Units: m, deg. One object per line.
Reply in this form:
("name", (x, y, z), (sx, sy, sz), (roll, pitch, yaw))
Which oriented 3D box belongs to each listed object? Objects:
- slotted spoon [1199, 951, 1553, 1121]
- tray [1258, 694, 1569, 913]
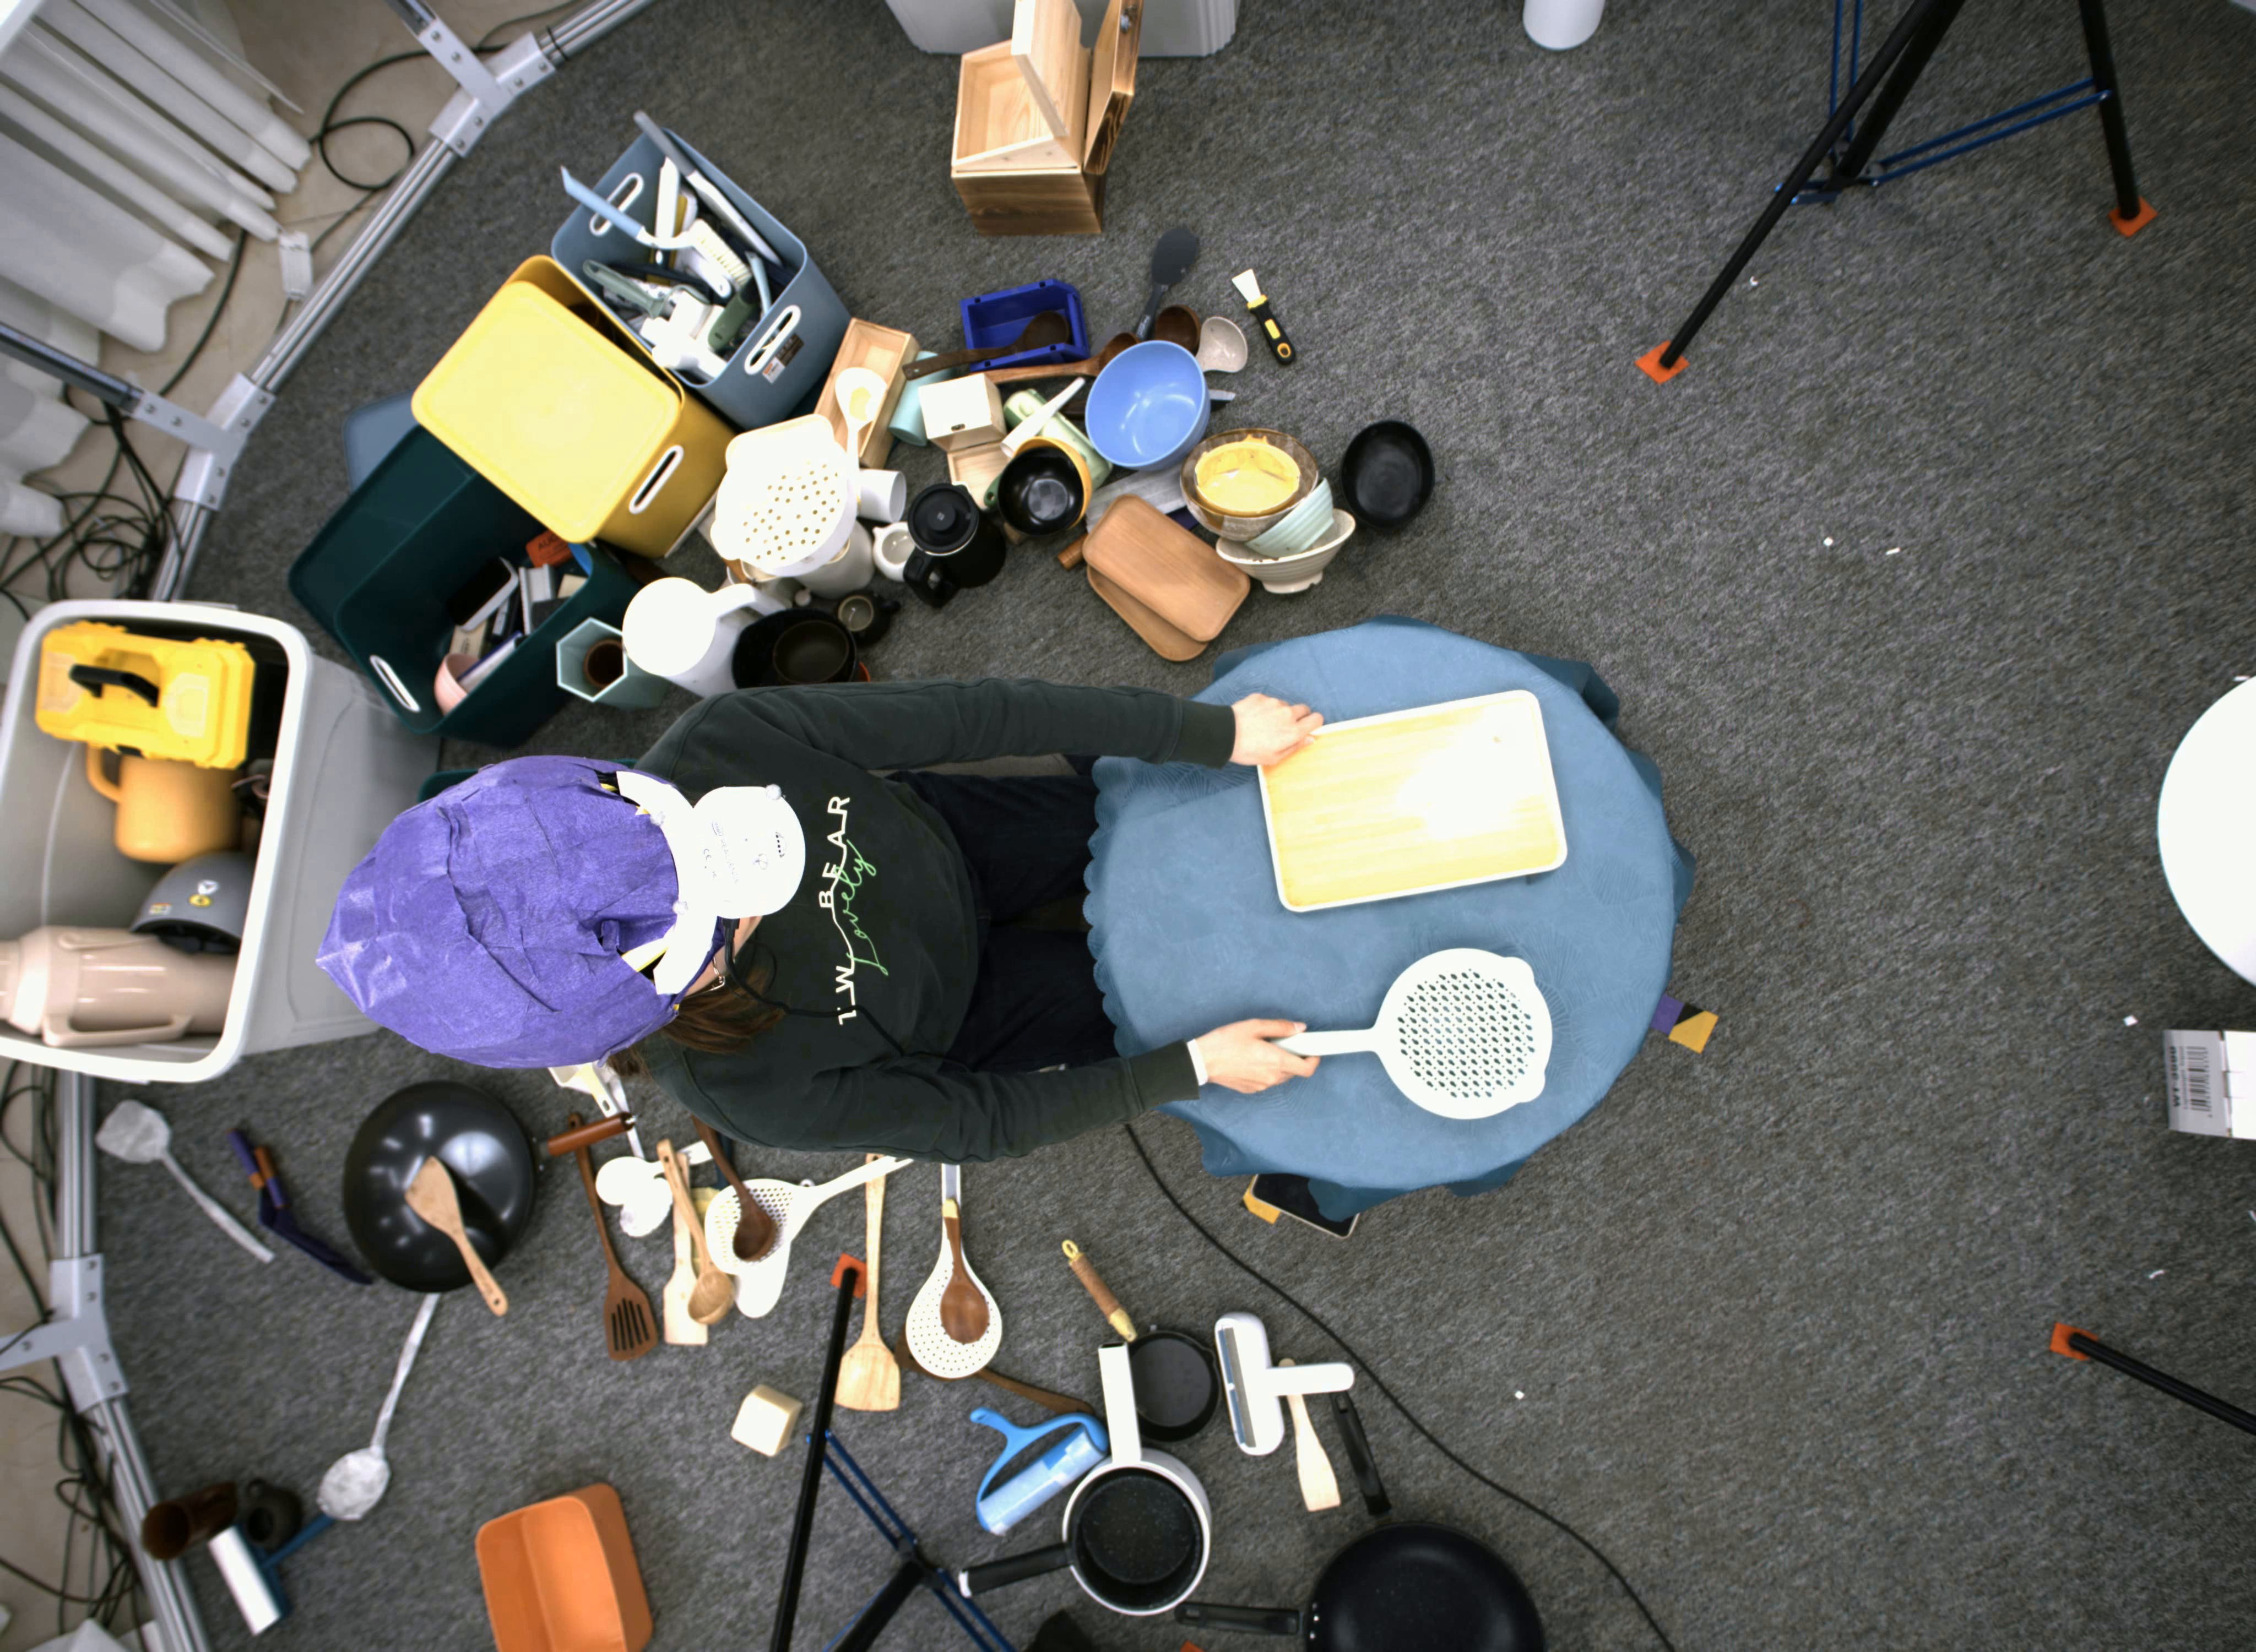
("slotted spoon", (0.249, 0.220, 1.424), (0.360, 0.076, 0.167), (-4, 80, 9))
("tray", (0.298, -0.024, 1.453), (0.302, 0.027, 0.190), (-10, 84, 9))
